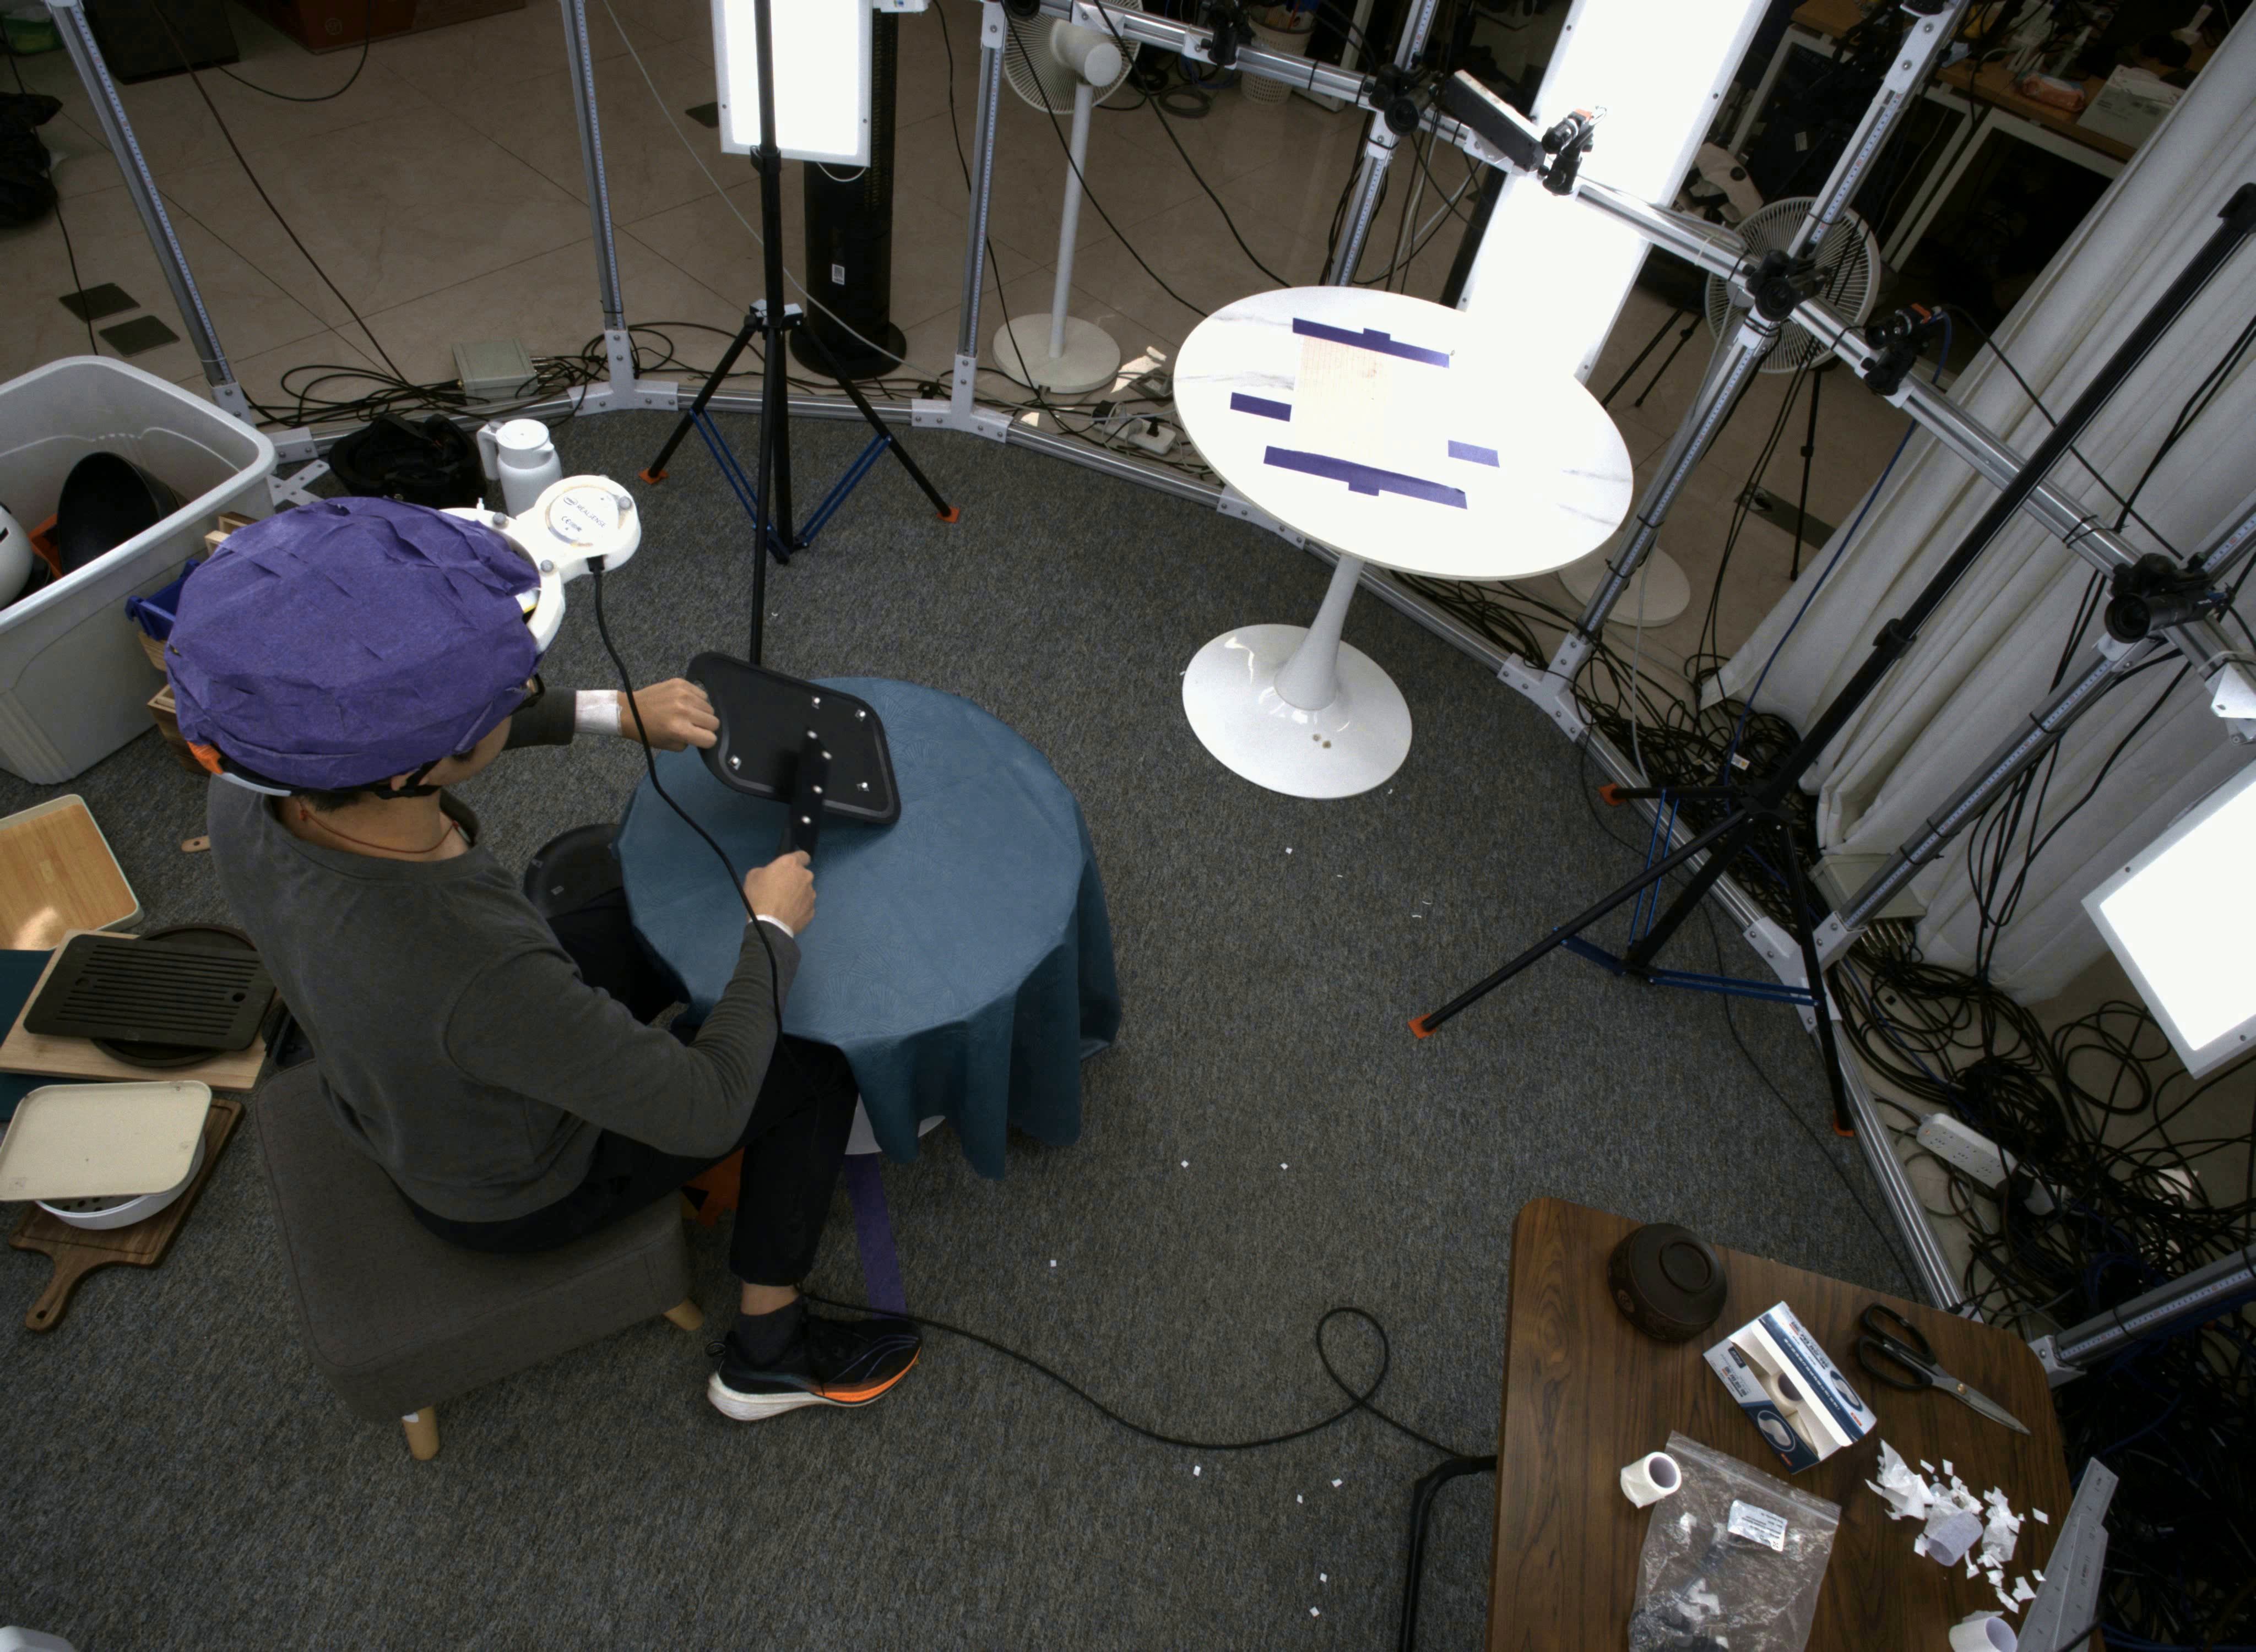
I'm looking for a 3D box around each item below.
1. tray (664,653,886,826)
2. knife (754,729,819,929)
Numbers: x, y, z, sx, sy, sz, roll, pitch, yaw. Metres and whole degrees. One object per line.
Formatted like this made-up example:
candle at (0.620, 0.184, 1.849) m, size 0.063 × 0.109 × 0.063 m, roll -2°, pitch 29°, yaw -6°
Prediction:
tray at (-0.454, -0.112, 1.678) m, size 0.334 × 0.009 × 0.207 m, roll 15°, pitch 50°, yaw -49°
knife at (-0.418, 0.002, 1.597) m, size 0.020 × 0.084 × 0.296 m, roll -15°, pitch 44°, yaw 15°
